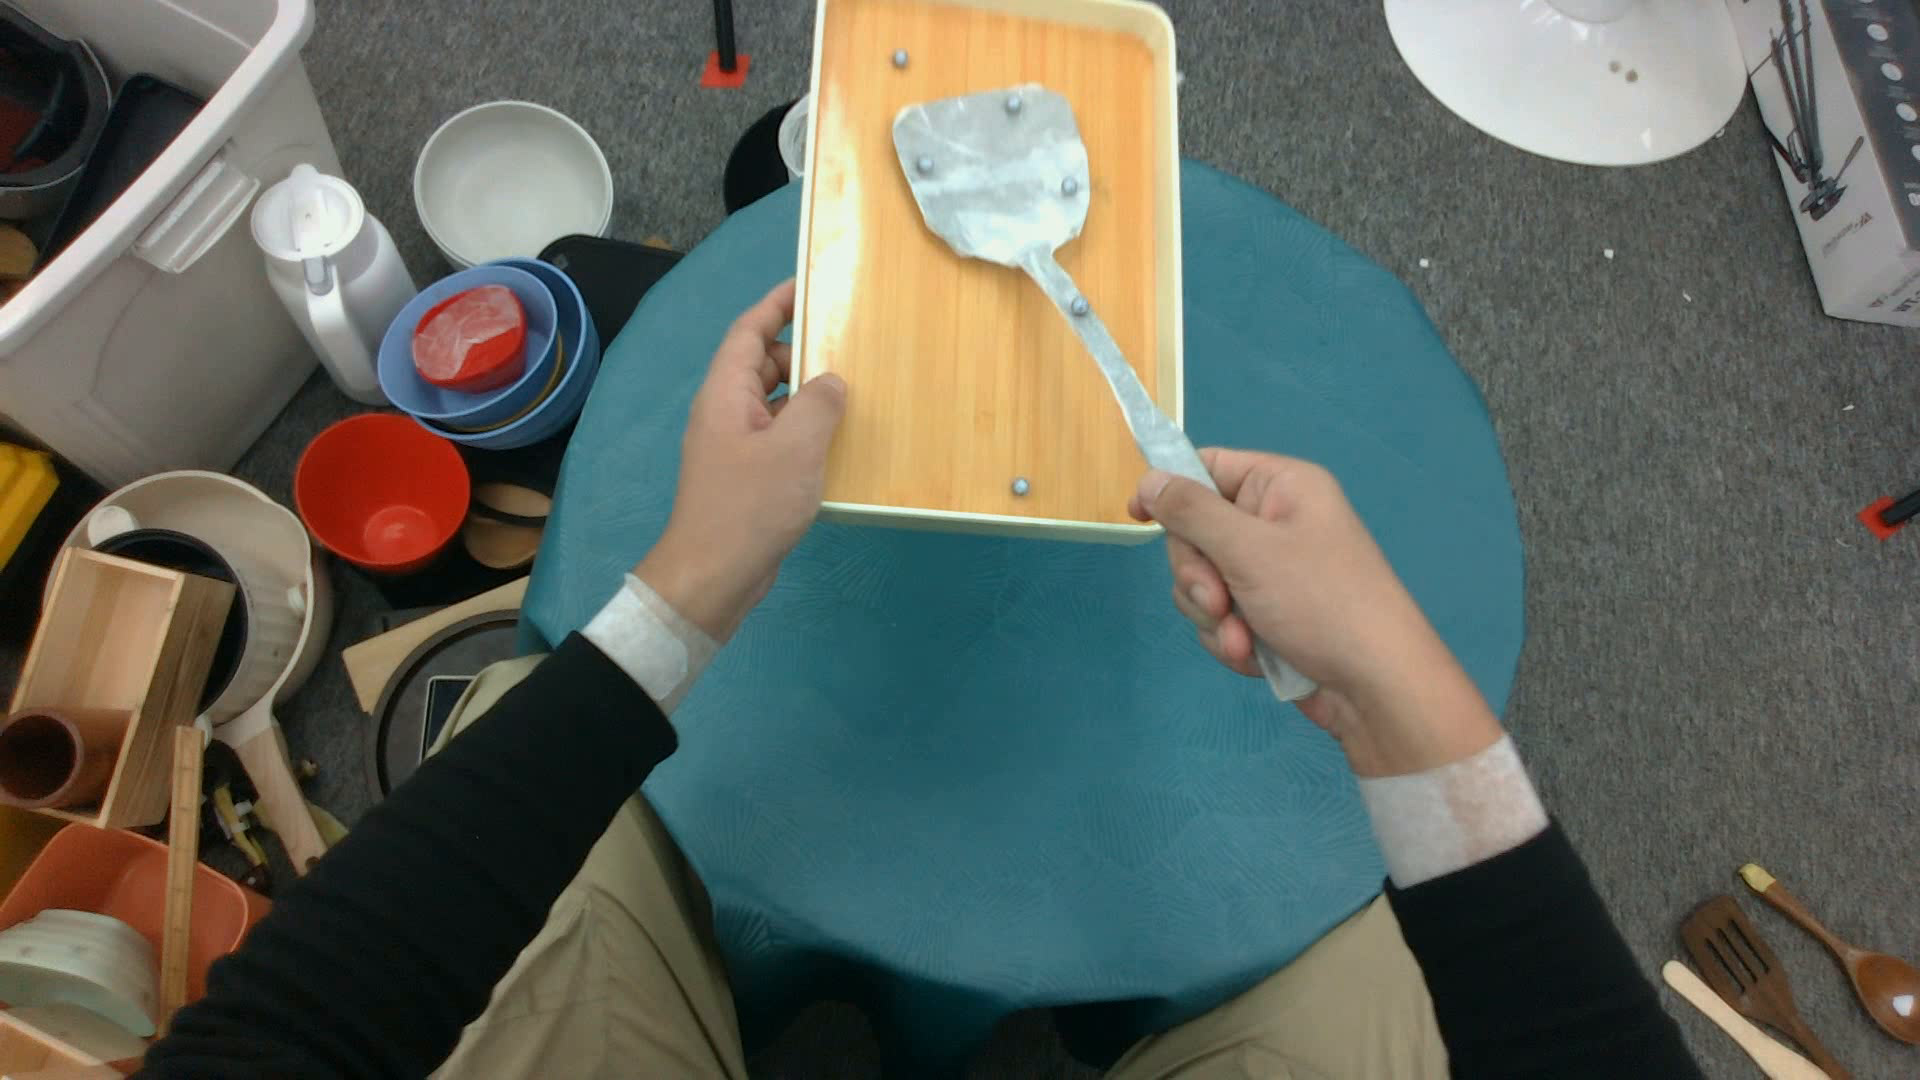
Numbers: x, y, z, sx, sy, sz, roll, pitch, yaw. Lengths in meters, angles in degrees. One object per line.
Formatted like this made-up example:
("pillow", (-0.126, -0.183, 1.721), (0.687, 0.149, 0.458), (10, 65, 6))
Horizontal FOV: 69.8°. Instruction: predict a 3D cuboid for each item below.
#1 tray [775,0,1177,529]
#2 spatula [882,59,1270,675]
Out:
("tray", (0.012, -0.157, 0.684), (0.192, 0.027, 0.301), (5, 74, -10))
("spatula", (0.059, -0.098, 0.615), (0.099, 0.044, 0.366), (-13, 52, -14))
